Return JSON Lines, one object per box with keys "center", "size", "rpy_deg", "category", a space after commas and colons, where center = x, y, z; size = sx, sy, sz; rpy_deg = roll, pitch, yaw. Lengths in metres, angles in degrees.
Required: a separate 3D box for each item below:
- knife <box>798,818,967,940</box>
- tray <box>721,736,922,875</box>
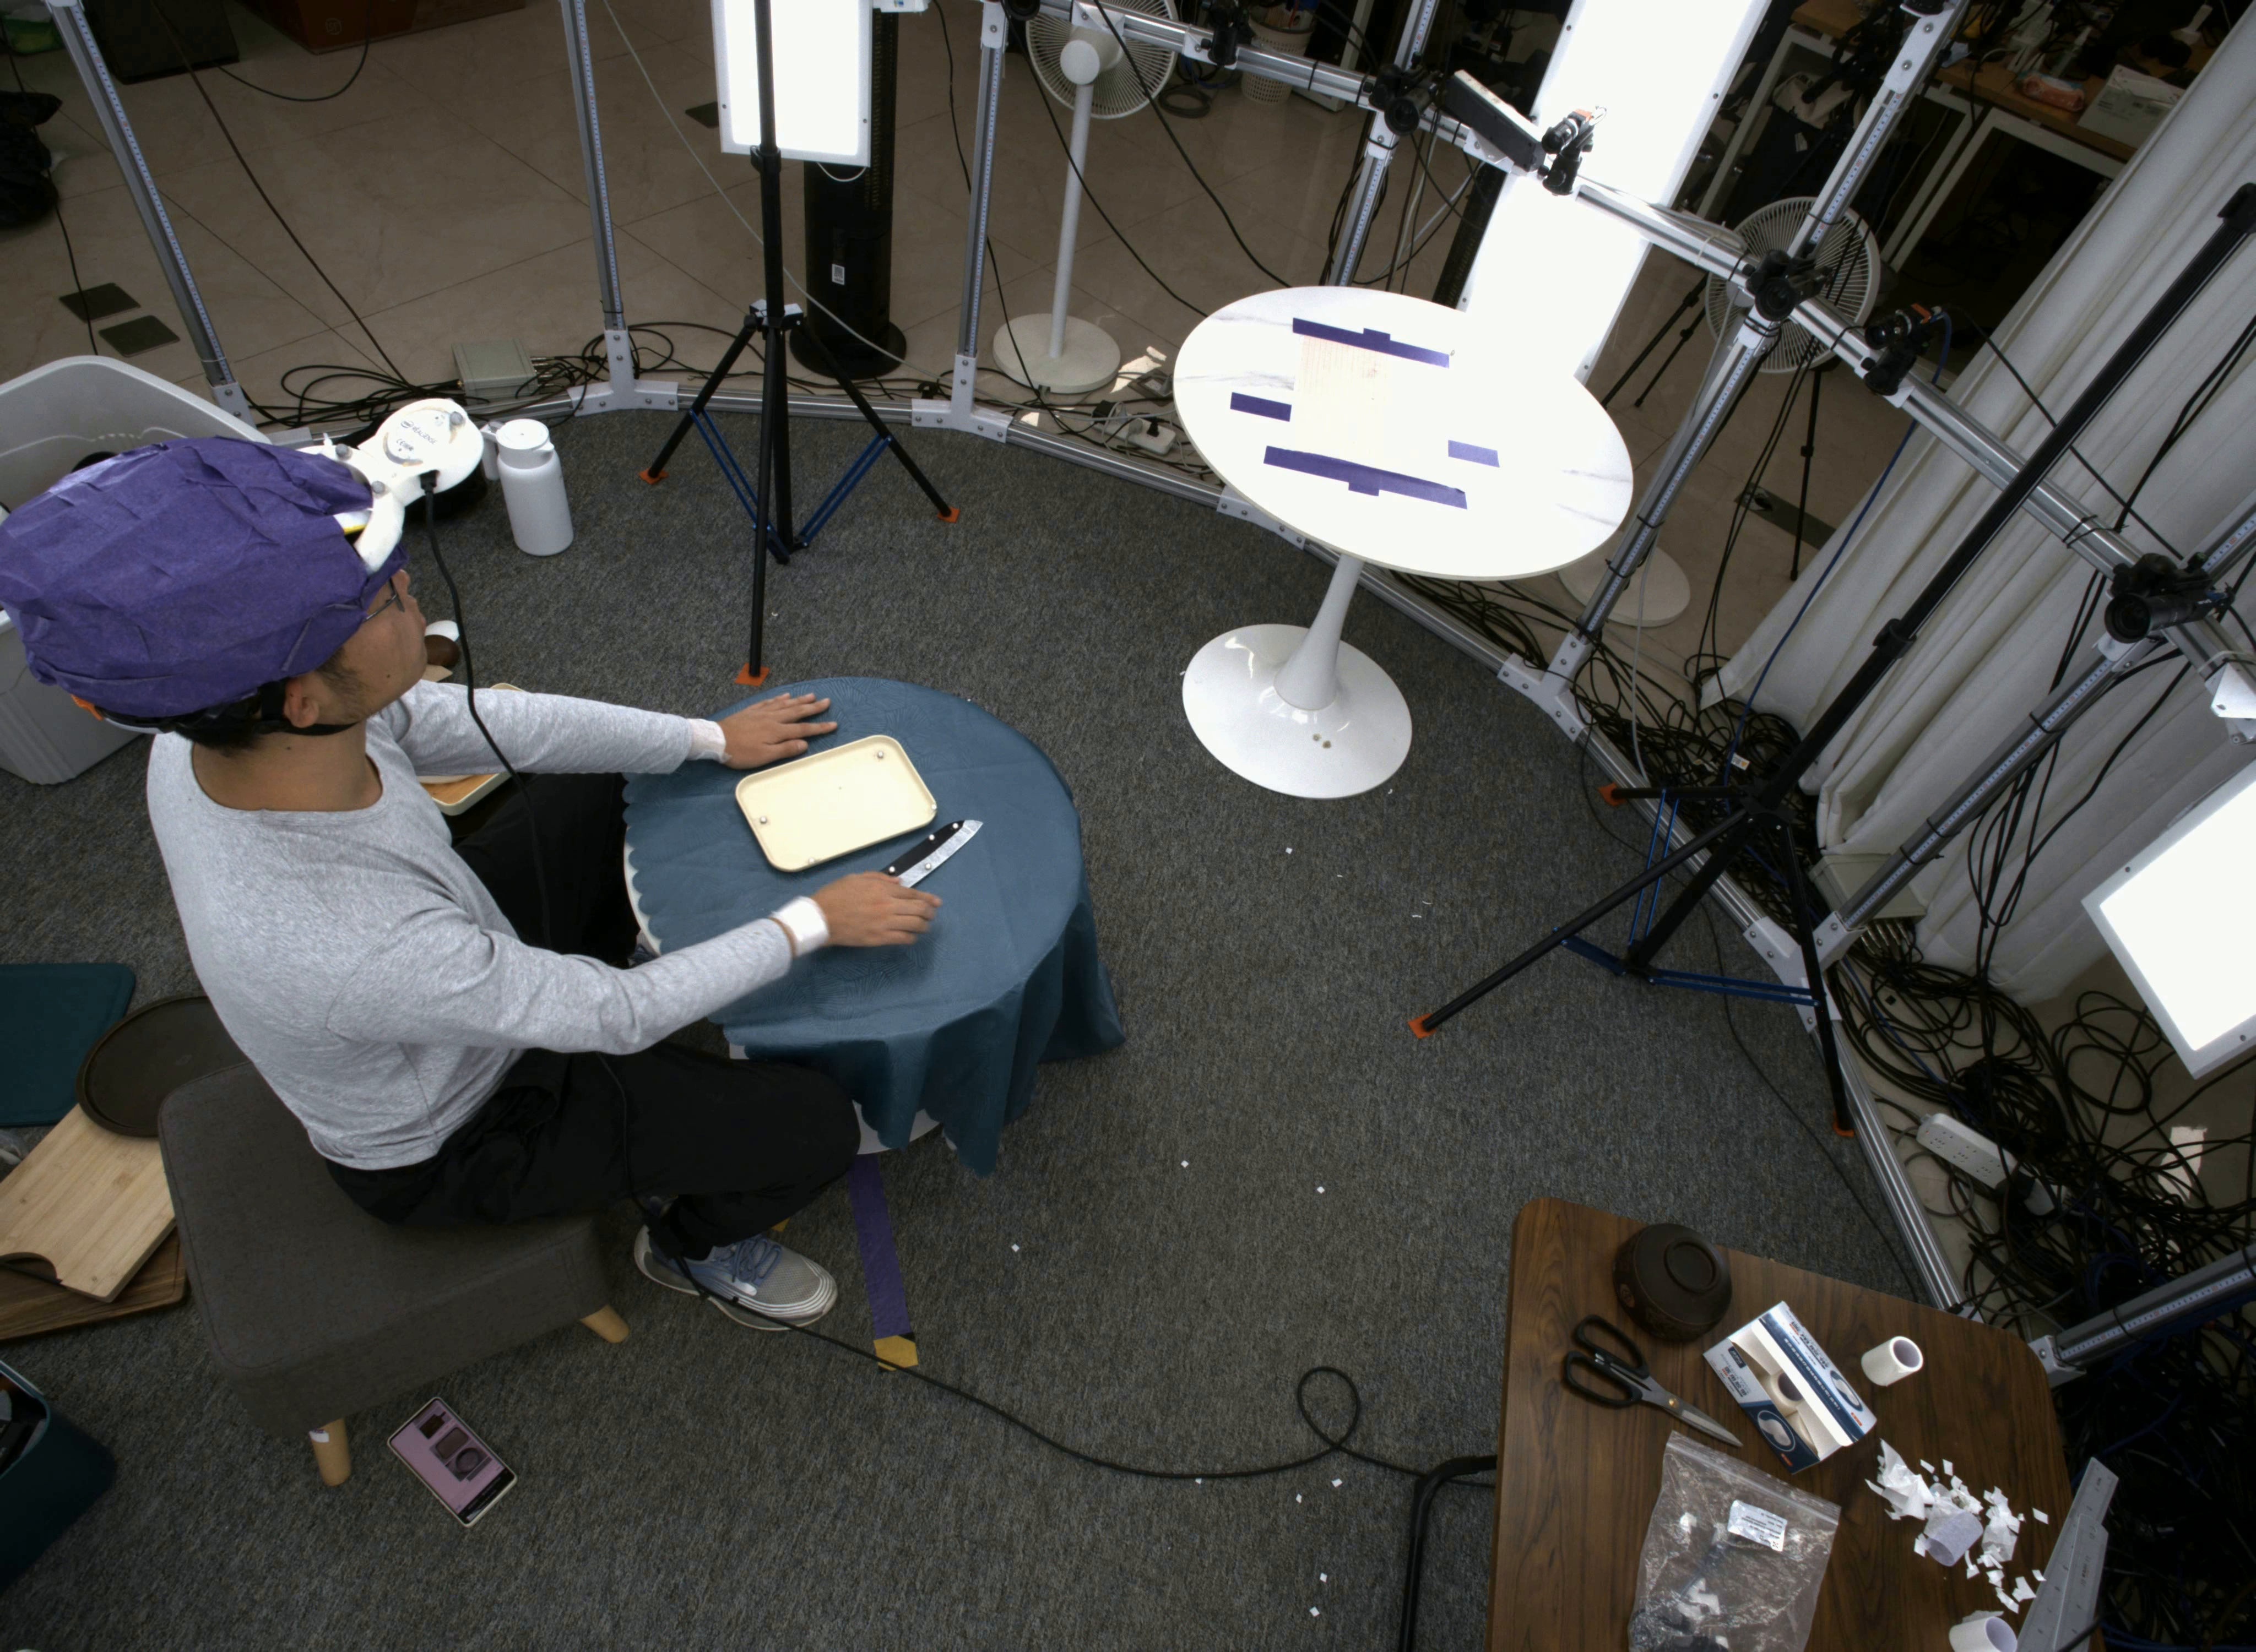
{"center": [-0.317, 0.063, 1.707], "size": [0.049, 0.020, 0.289], "rpy_deg": [43, 53, 13], "category": "knife"}
{"center": [-0.412, -0.030, 1.750], "size": [0.241, 0.018, 0.167], "rpy_deg": [-22, 62, -27], "category": "tray"}
